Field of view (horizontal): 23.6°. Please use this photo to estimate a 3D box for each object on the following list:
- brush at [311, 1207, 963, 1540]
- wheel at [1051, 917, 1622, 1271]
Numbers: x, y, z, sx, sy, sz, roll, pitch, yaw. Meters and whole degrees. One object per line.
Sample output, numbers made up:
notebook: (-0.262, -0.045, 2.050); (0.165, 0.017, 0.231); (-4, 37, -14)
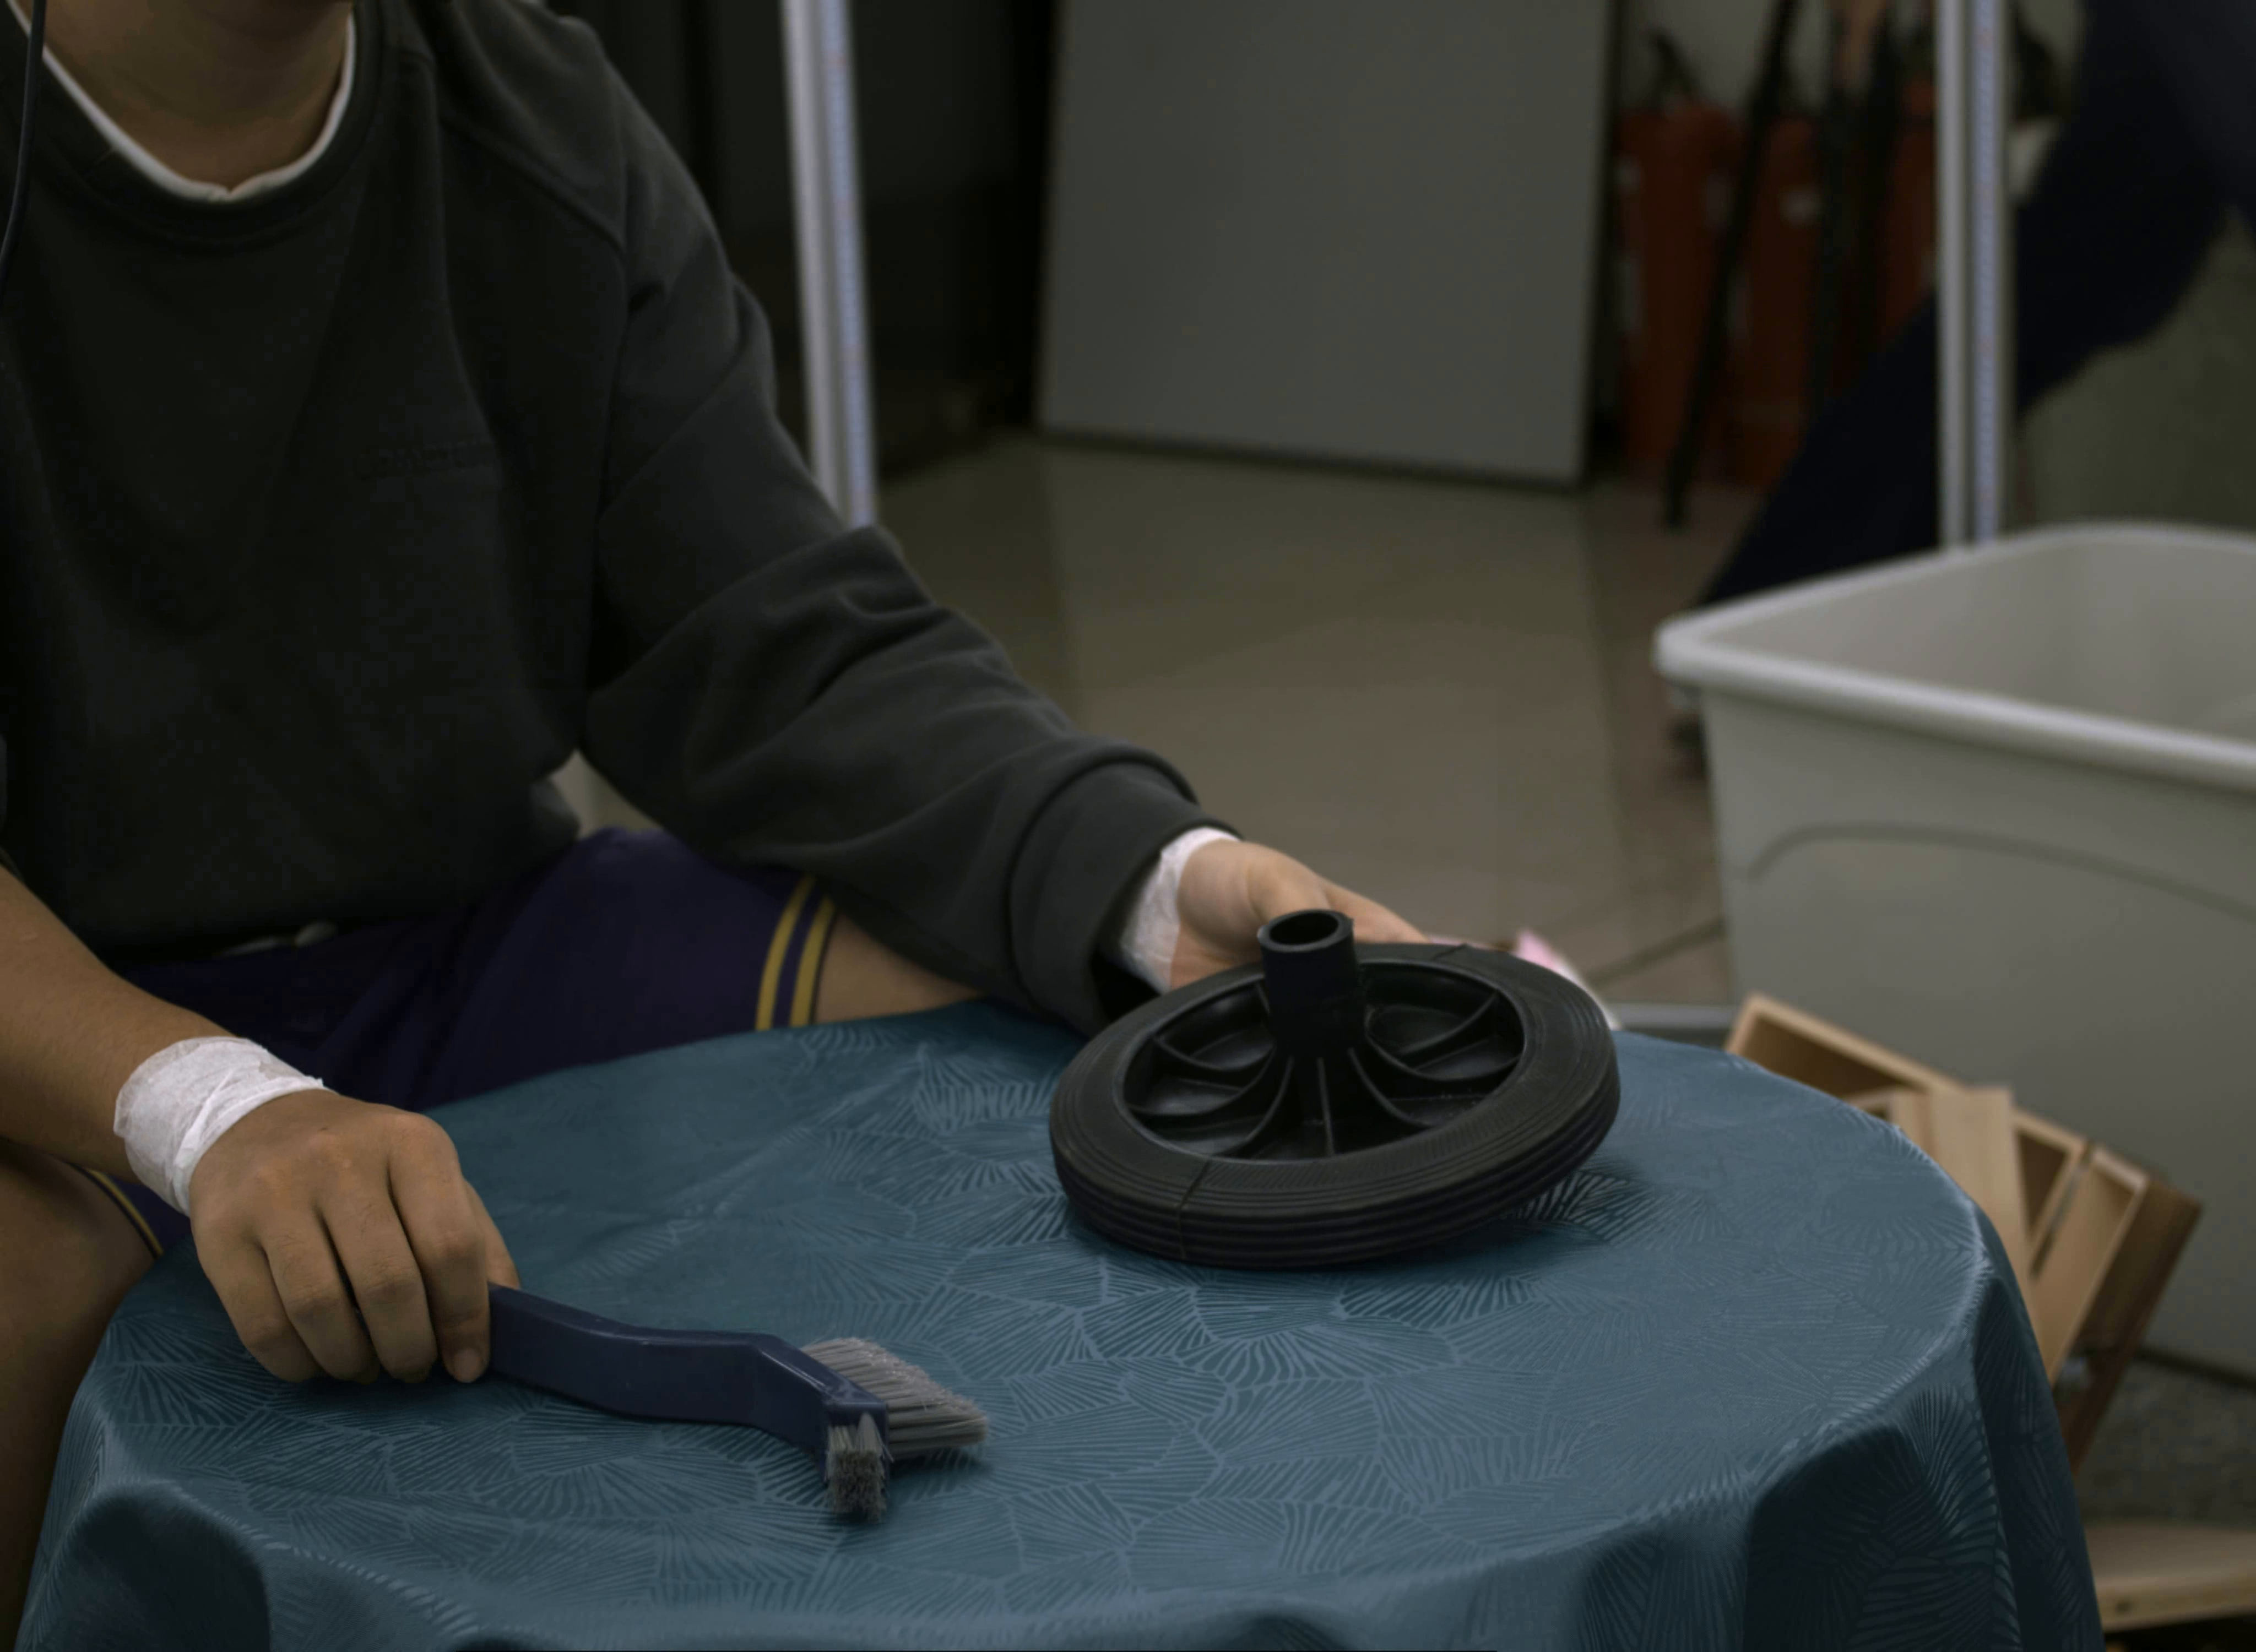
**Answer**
brush: (-0.163, 0.158, 1.596); (0.275, 0.034, 0.094); (8, 18, 37)
wheel: (0.064, 0.072, 1.745); (0.184, 0.079, 0.192); (-18, 24, -15)
